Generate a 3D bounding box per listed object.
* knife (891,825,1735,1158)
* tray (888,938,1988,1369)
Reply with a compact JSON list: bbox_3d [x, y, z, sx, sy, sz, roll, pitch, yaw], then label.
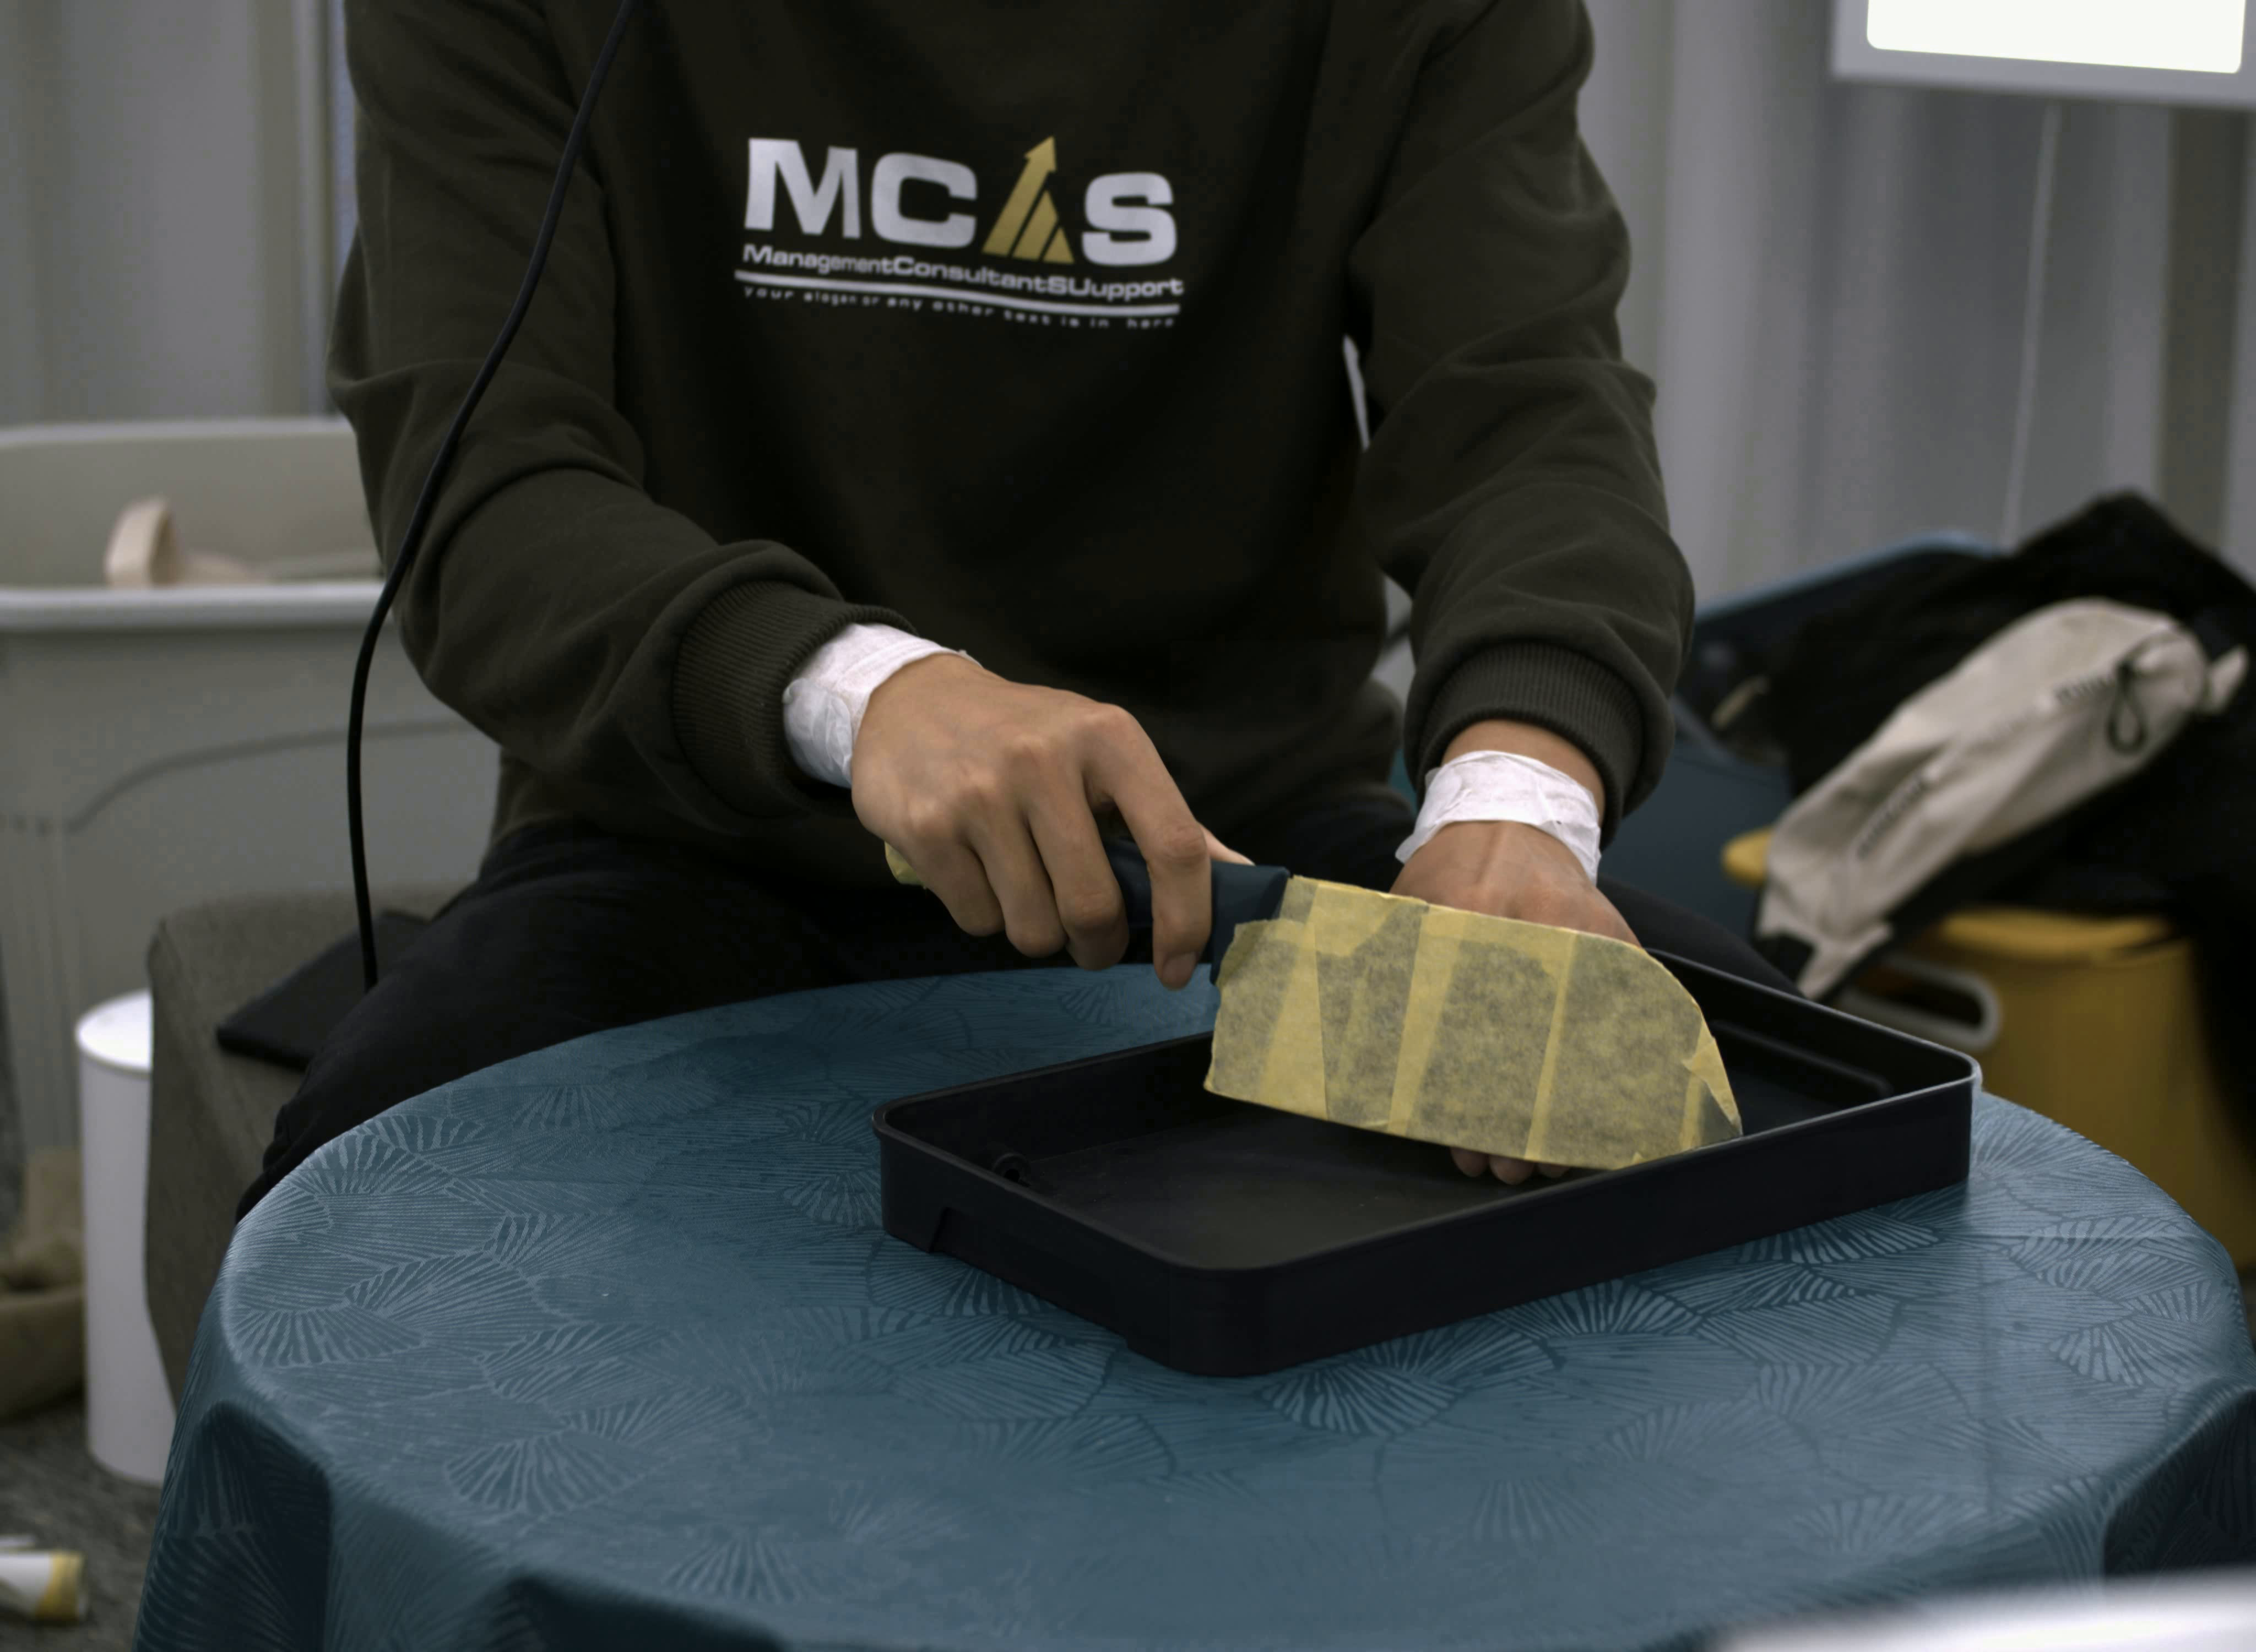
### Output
[{"bbox_3d":[0.054,0.050,1.642,0.286,0.081,0.027,14,-1,20],"label":"knife"},{"bbox_3d":[0.098,0.095,1.621,0.319,0.037,0.182,-11,19,-38],"label":"tray"}]
